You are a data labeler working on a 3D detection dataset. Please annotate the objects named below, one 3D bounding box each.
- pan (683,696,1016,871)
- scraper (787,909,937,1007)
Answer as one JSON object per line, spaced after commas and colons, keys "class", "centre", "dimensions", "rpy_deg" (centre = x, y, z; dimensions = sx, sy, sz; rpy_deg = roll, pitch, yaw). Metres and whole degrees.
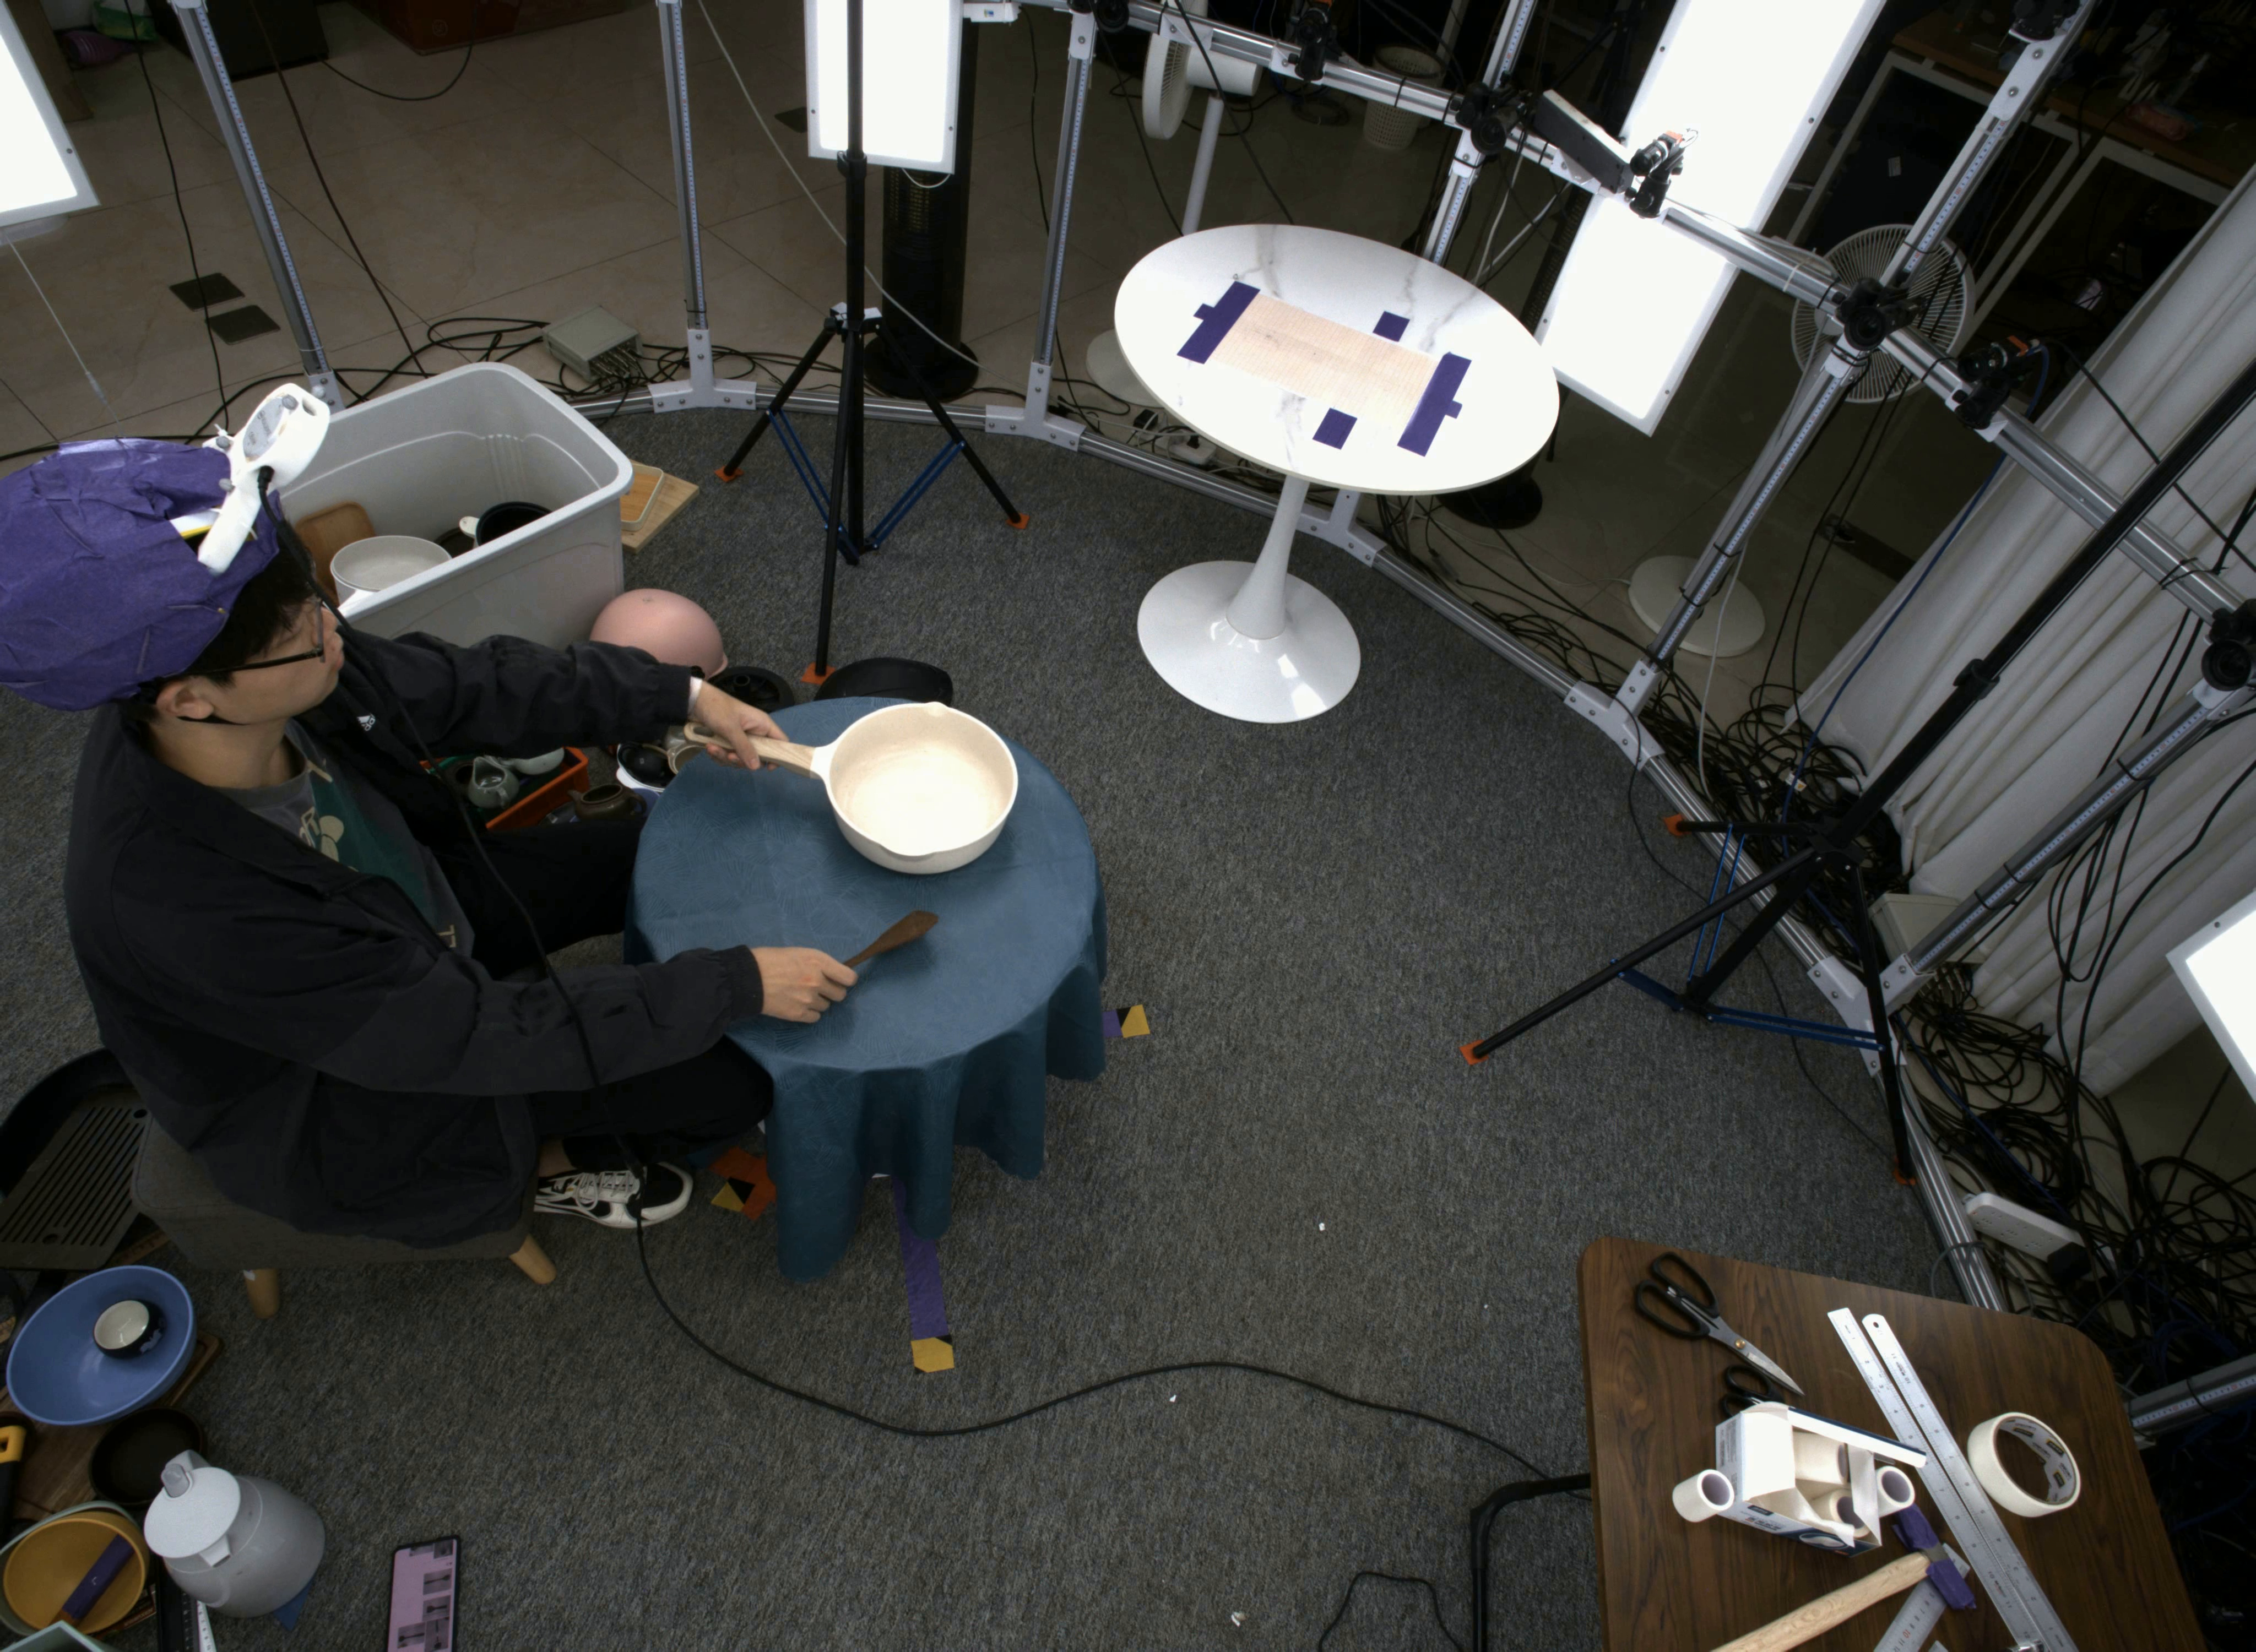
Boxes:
{"class": "pan", "centre": [-0.366, -0.066, 1.725], "dimensions": [0.433, 0.104, 0.259], "rpy_deg": [8, 54, -7]}
{"class": "scraper", "centre": [-0.327, 0.159, 1.593], "dimensions": [0.212, 0.073, 0.011], "rpy_deg": [-34, 111, -30]}
